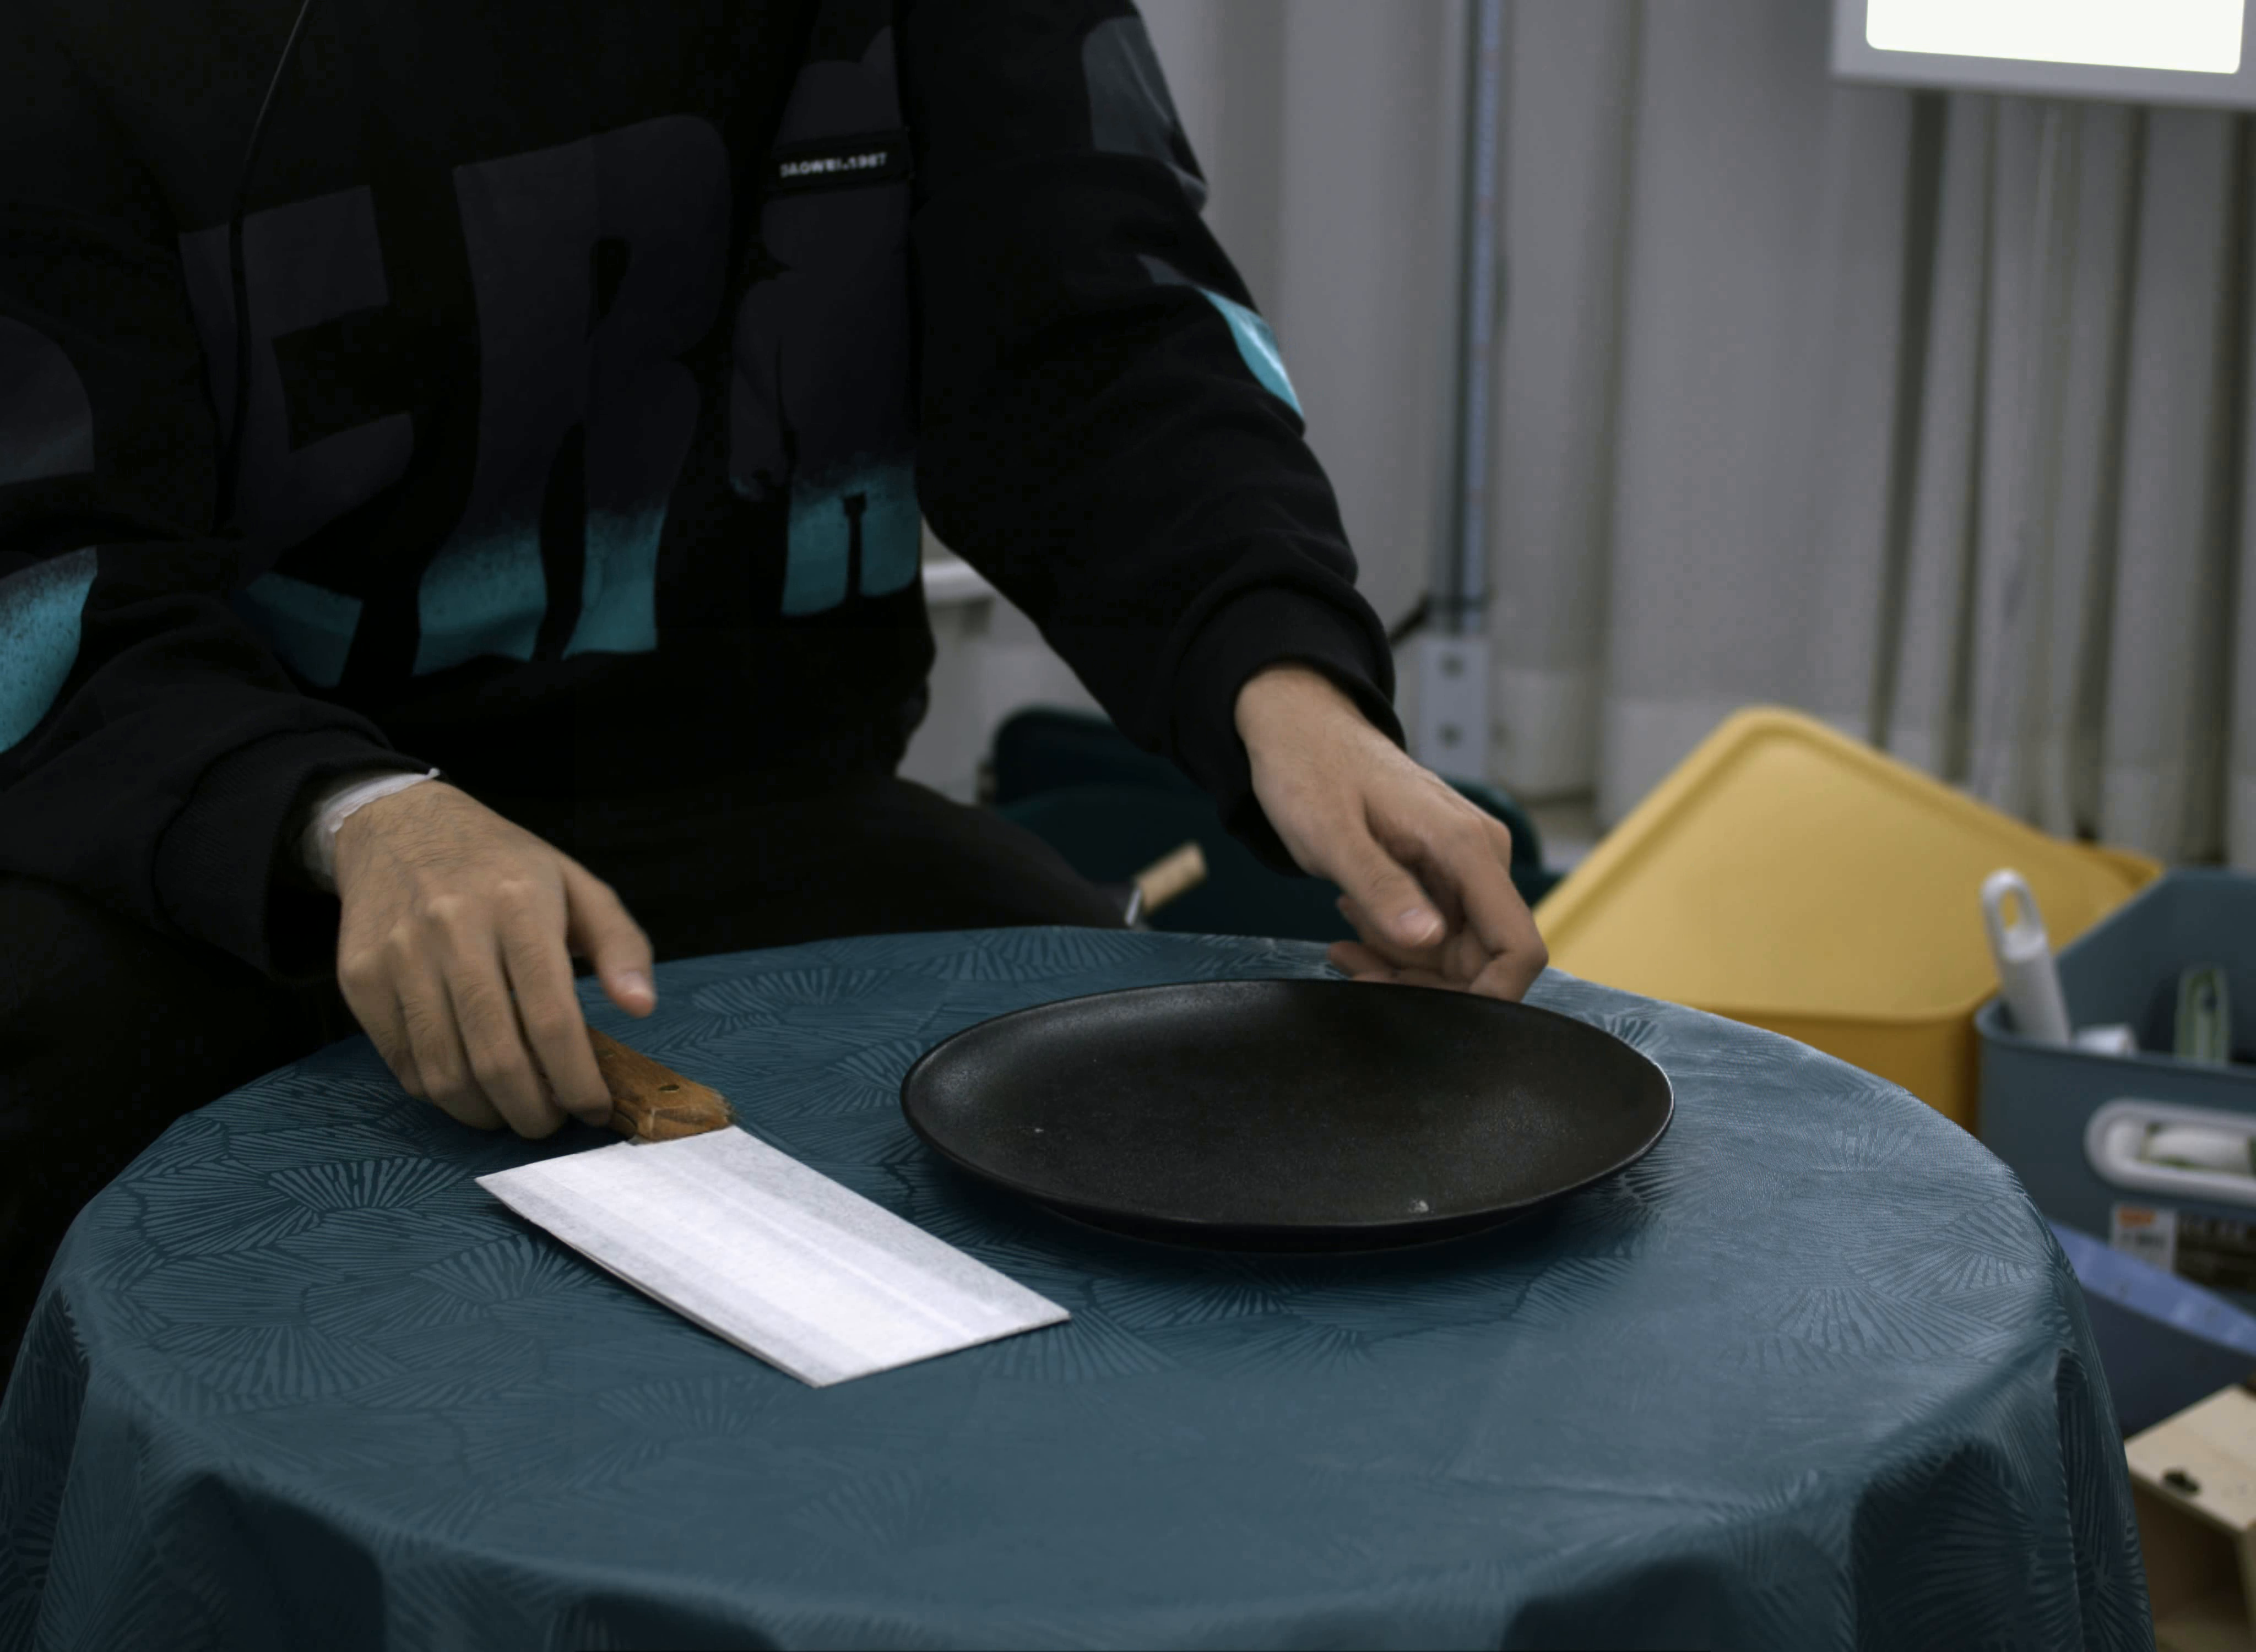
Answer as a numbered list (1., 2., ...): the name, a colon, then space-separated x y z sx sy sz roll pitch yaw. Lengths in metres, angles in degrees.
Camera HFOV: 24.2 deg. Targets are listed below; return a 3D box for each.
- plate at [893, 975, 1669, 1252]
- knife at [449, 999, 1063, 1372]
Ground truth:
1. plate: 0.048 0.092 1.650 0.243 0.023 0.243 0 16 0
2. knife: -0.140 0.109 1.601 0.093 0.021 0.301 -13 23 -35
